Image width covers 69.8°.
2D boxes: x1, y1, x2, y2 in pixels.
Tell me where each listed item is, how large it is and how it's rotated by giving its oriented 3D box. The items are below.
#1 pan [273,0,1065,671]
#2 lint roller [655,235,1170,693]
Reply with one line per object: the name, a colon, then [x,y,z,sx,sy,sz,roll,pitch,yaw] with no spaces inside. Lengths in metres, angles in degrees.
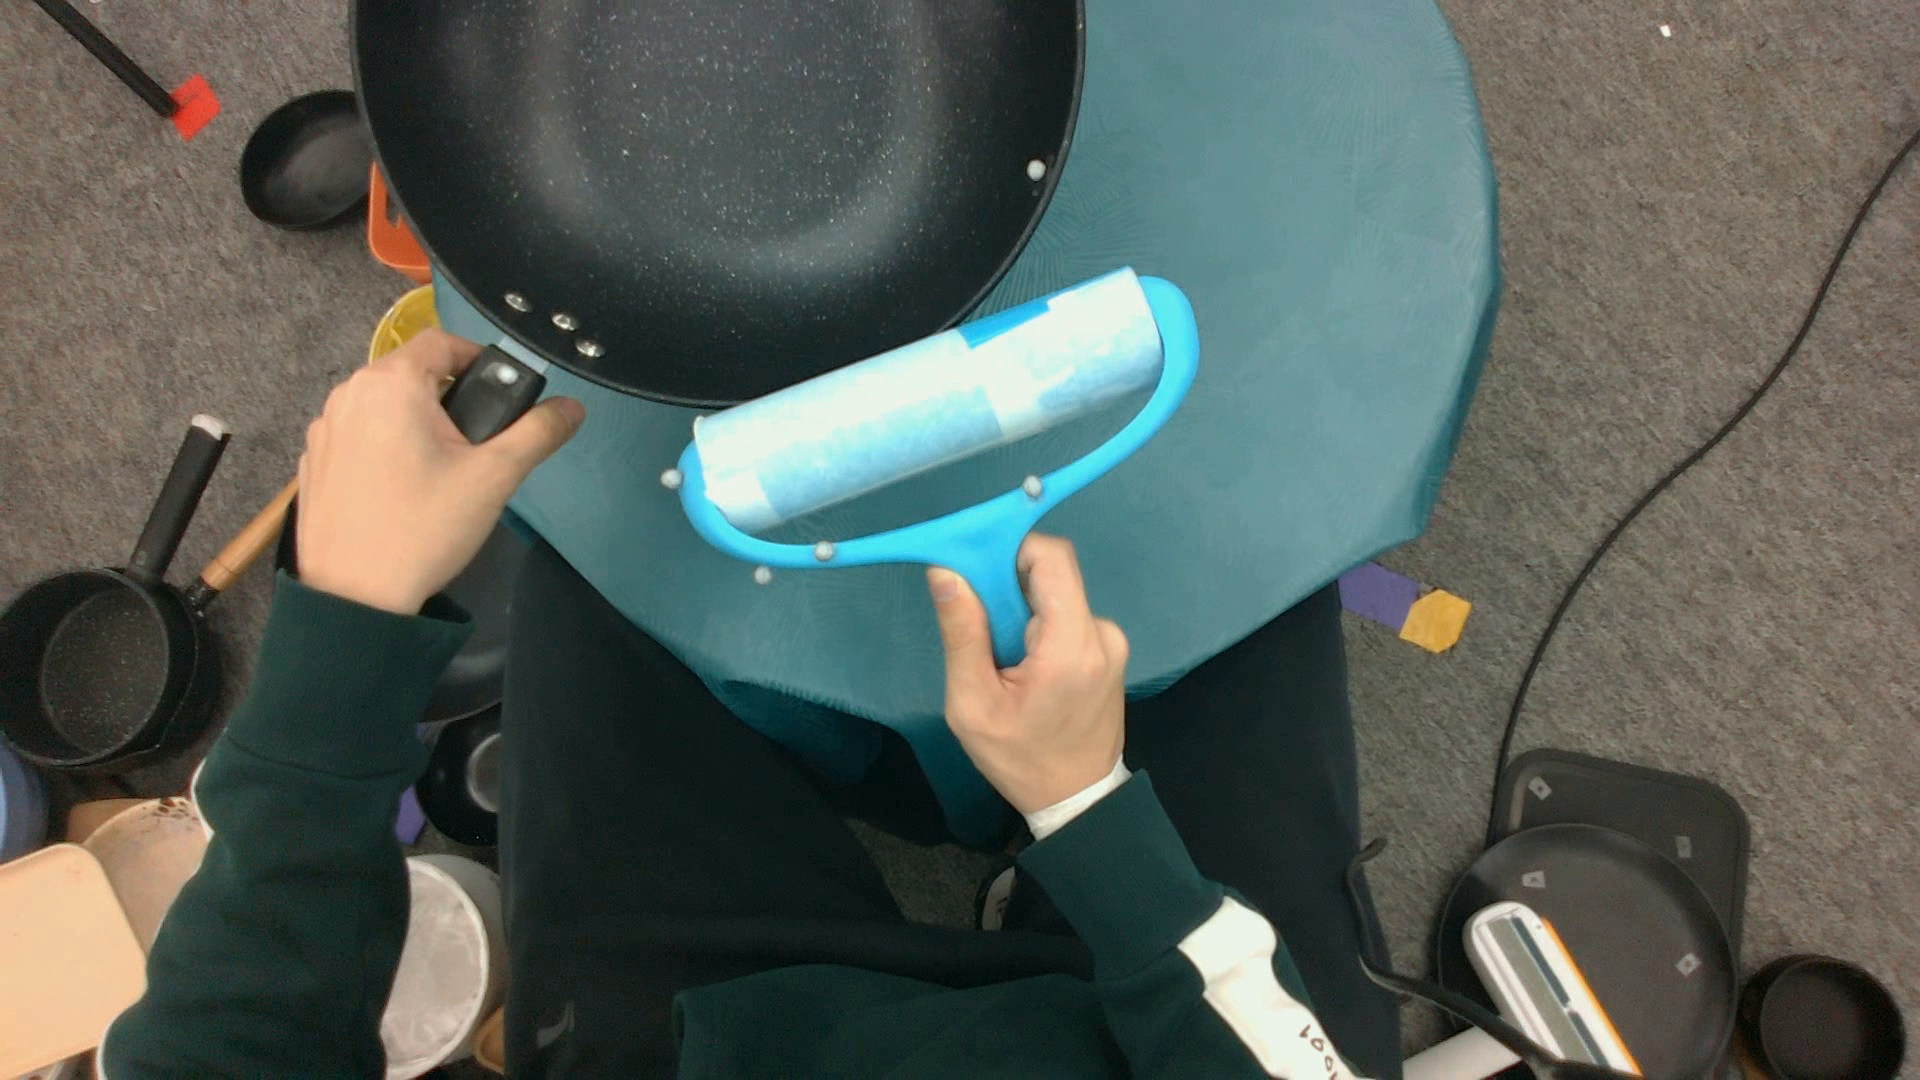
pan: [-0.155,-0.153,0.617,0.310,0.112,0.476,32,94,-3]
lint roller: [0.004,-0.012,0.586,0.229,0.068,0.180,-25,97,2]
